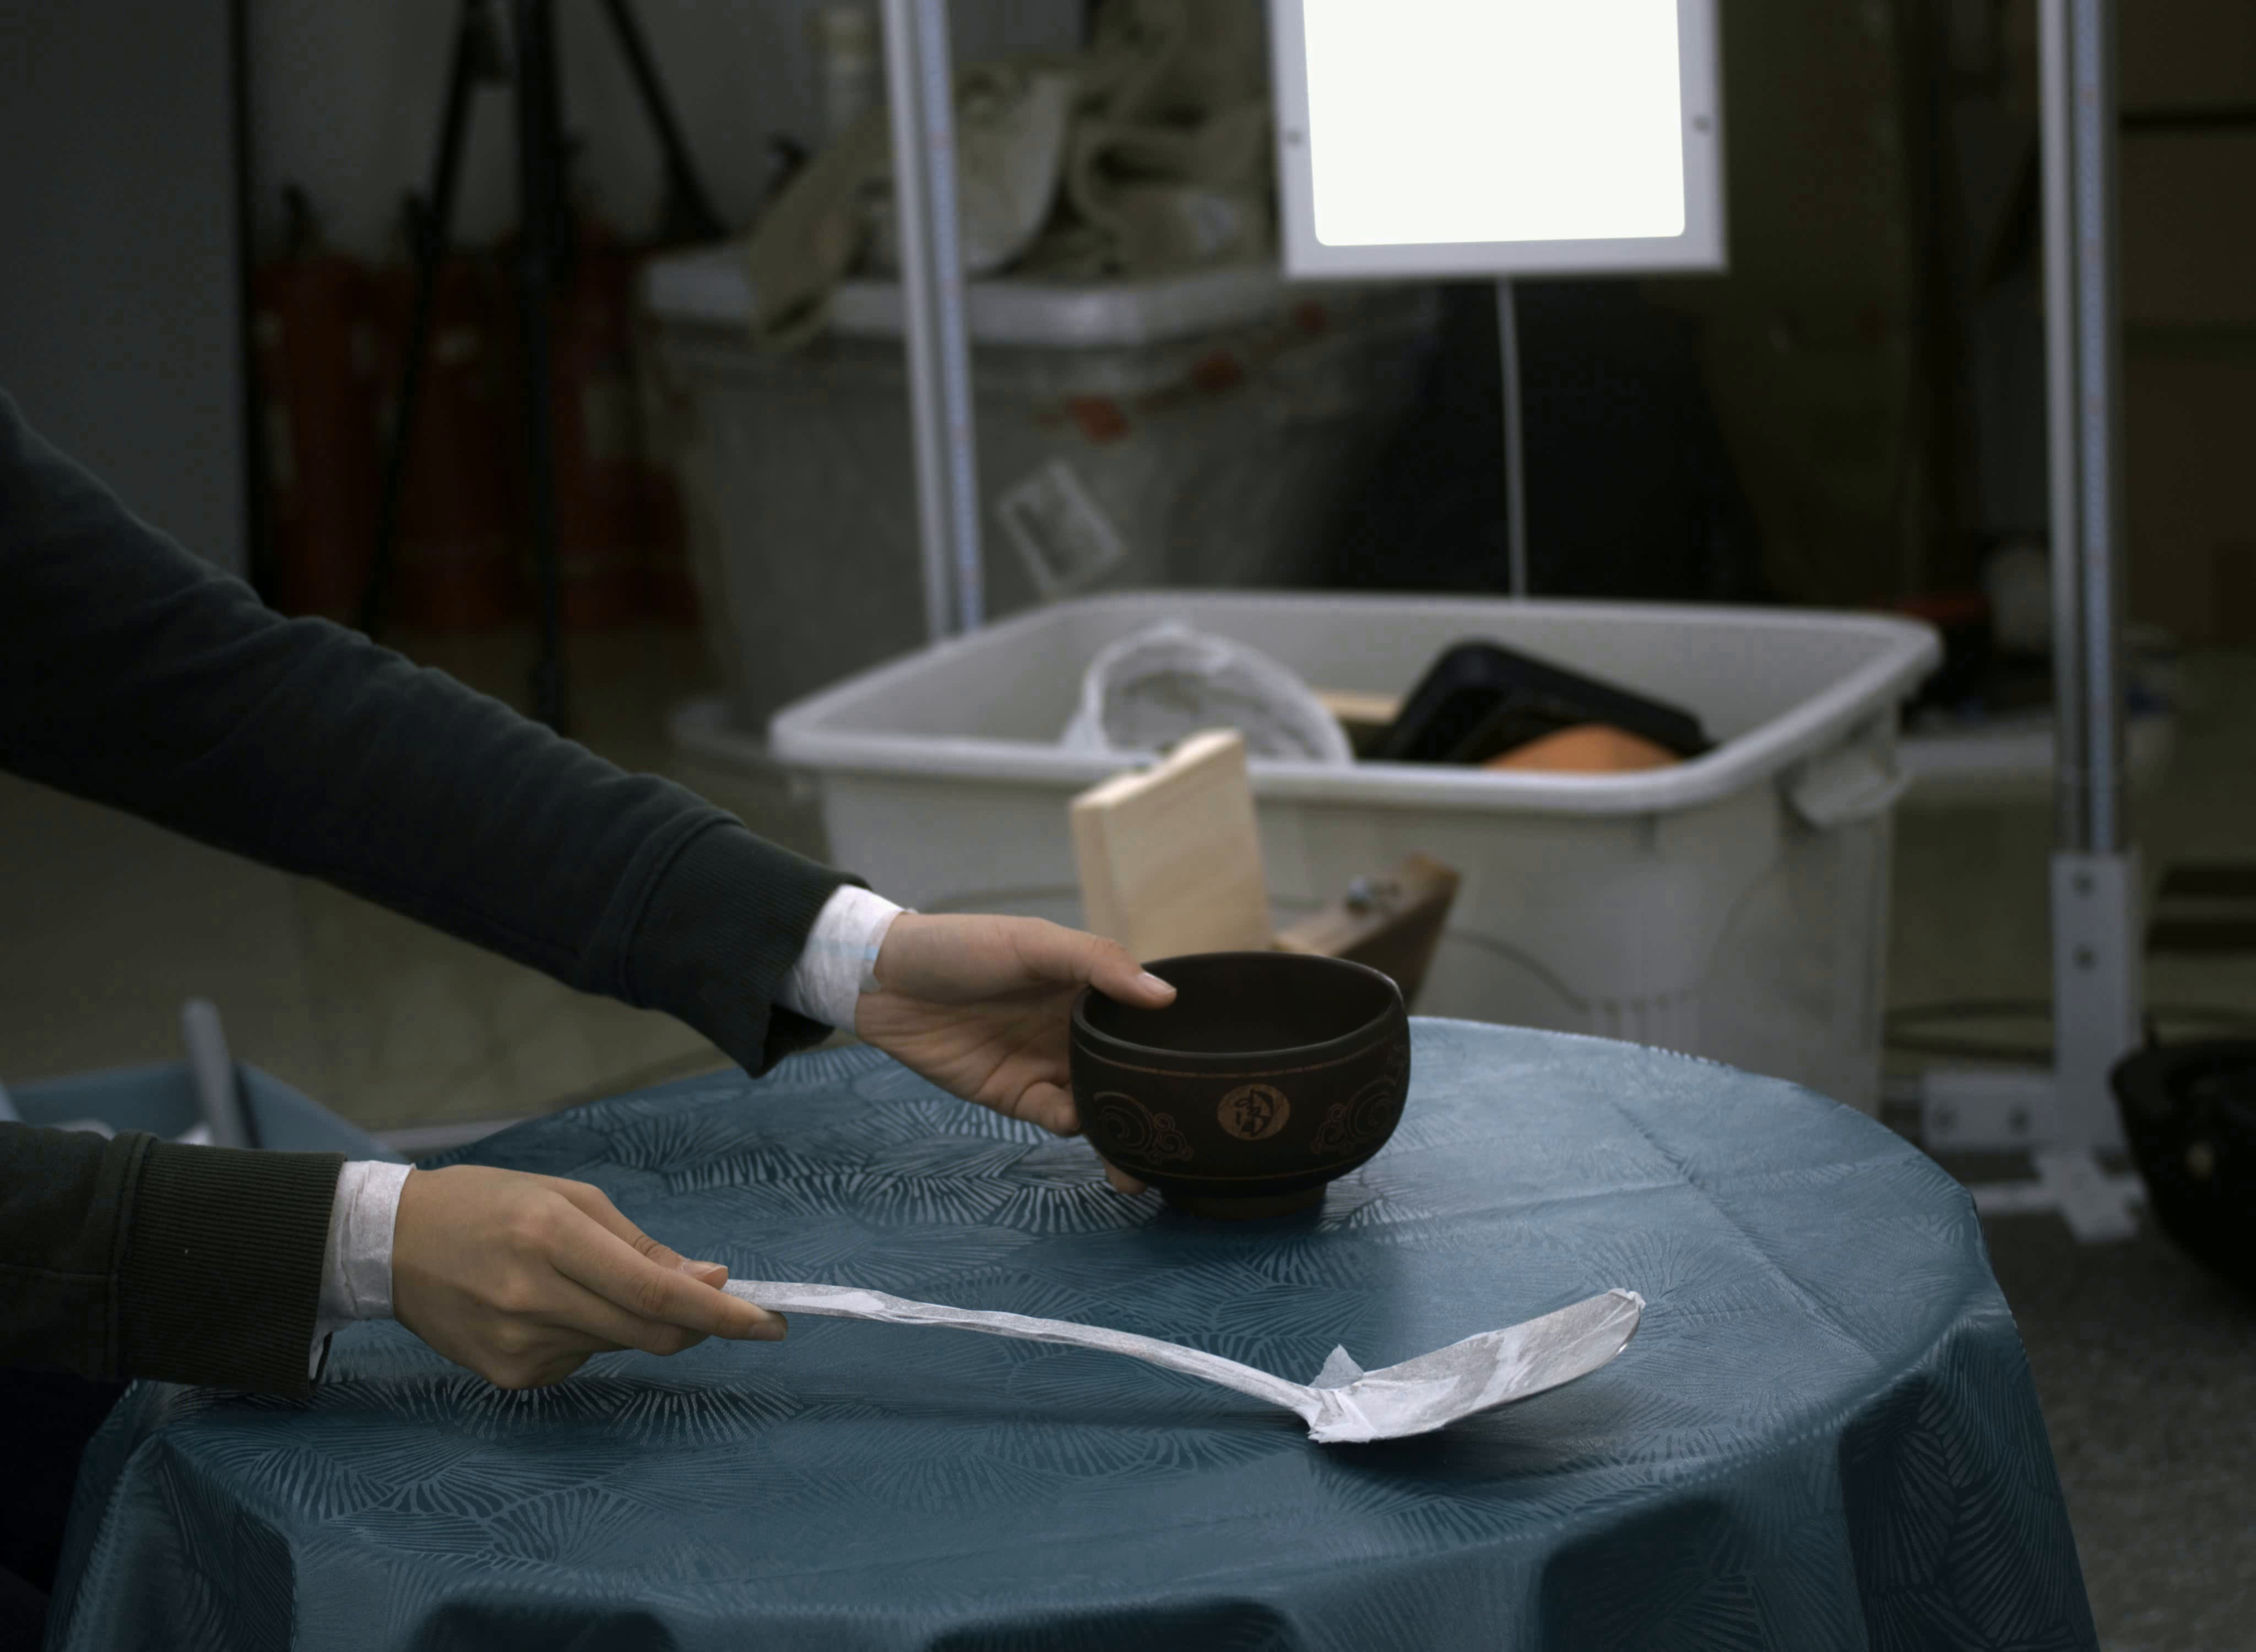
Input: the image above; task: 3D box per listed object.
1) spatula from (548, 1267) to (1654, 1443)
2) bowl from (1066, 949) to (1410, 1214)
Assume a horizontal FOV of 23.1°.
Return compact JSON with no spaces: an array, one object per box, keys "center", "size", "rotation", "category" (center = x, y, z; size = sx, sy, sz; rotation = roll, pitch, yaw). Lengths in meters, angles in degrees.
[{"center":[-0.019,0.150,1.689],"size":[0.370,0.045,0.097],"rotation":[6,17,22],"category":"spatula"},{"center":[0.038,0.090,1.872],"size":[0.117,0.070,0.118],"rotation":[-3,15,-1],"category":"bowl"}]
